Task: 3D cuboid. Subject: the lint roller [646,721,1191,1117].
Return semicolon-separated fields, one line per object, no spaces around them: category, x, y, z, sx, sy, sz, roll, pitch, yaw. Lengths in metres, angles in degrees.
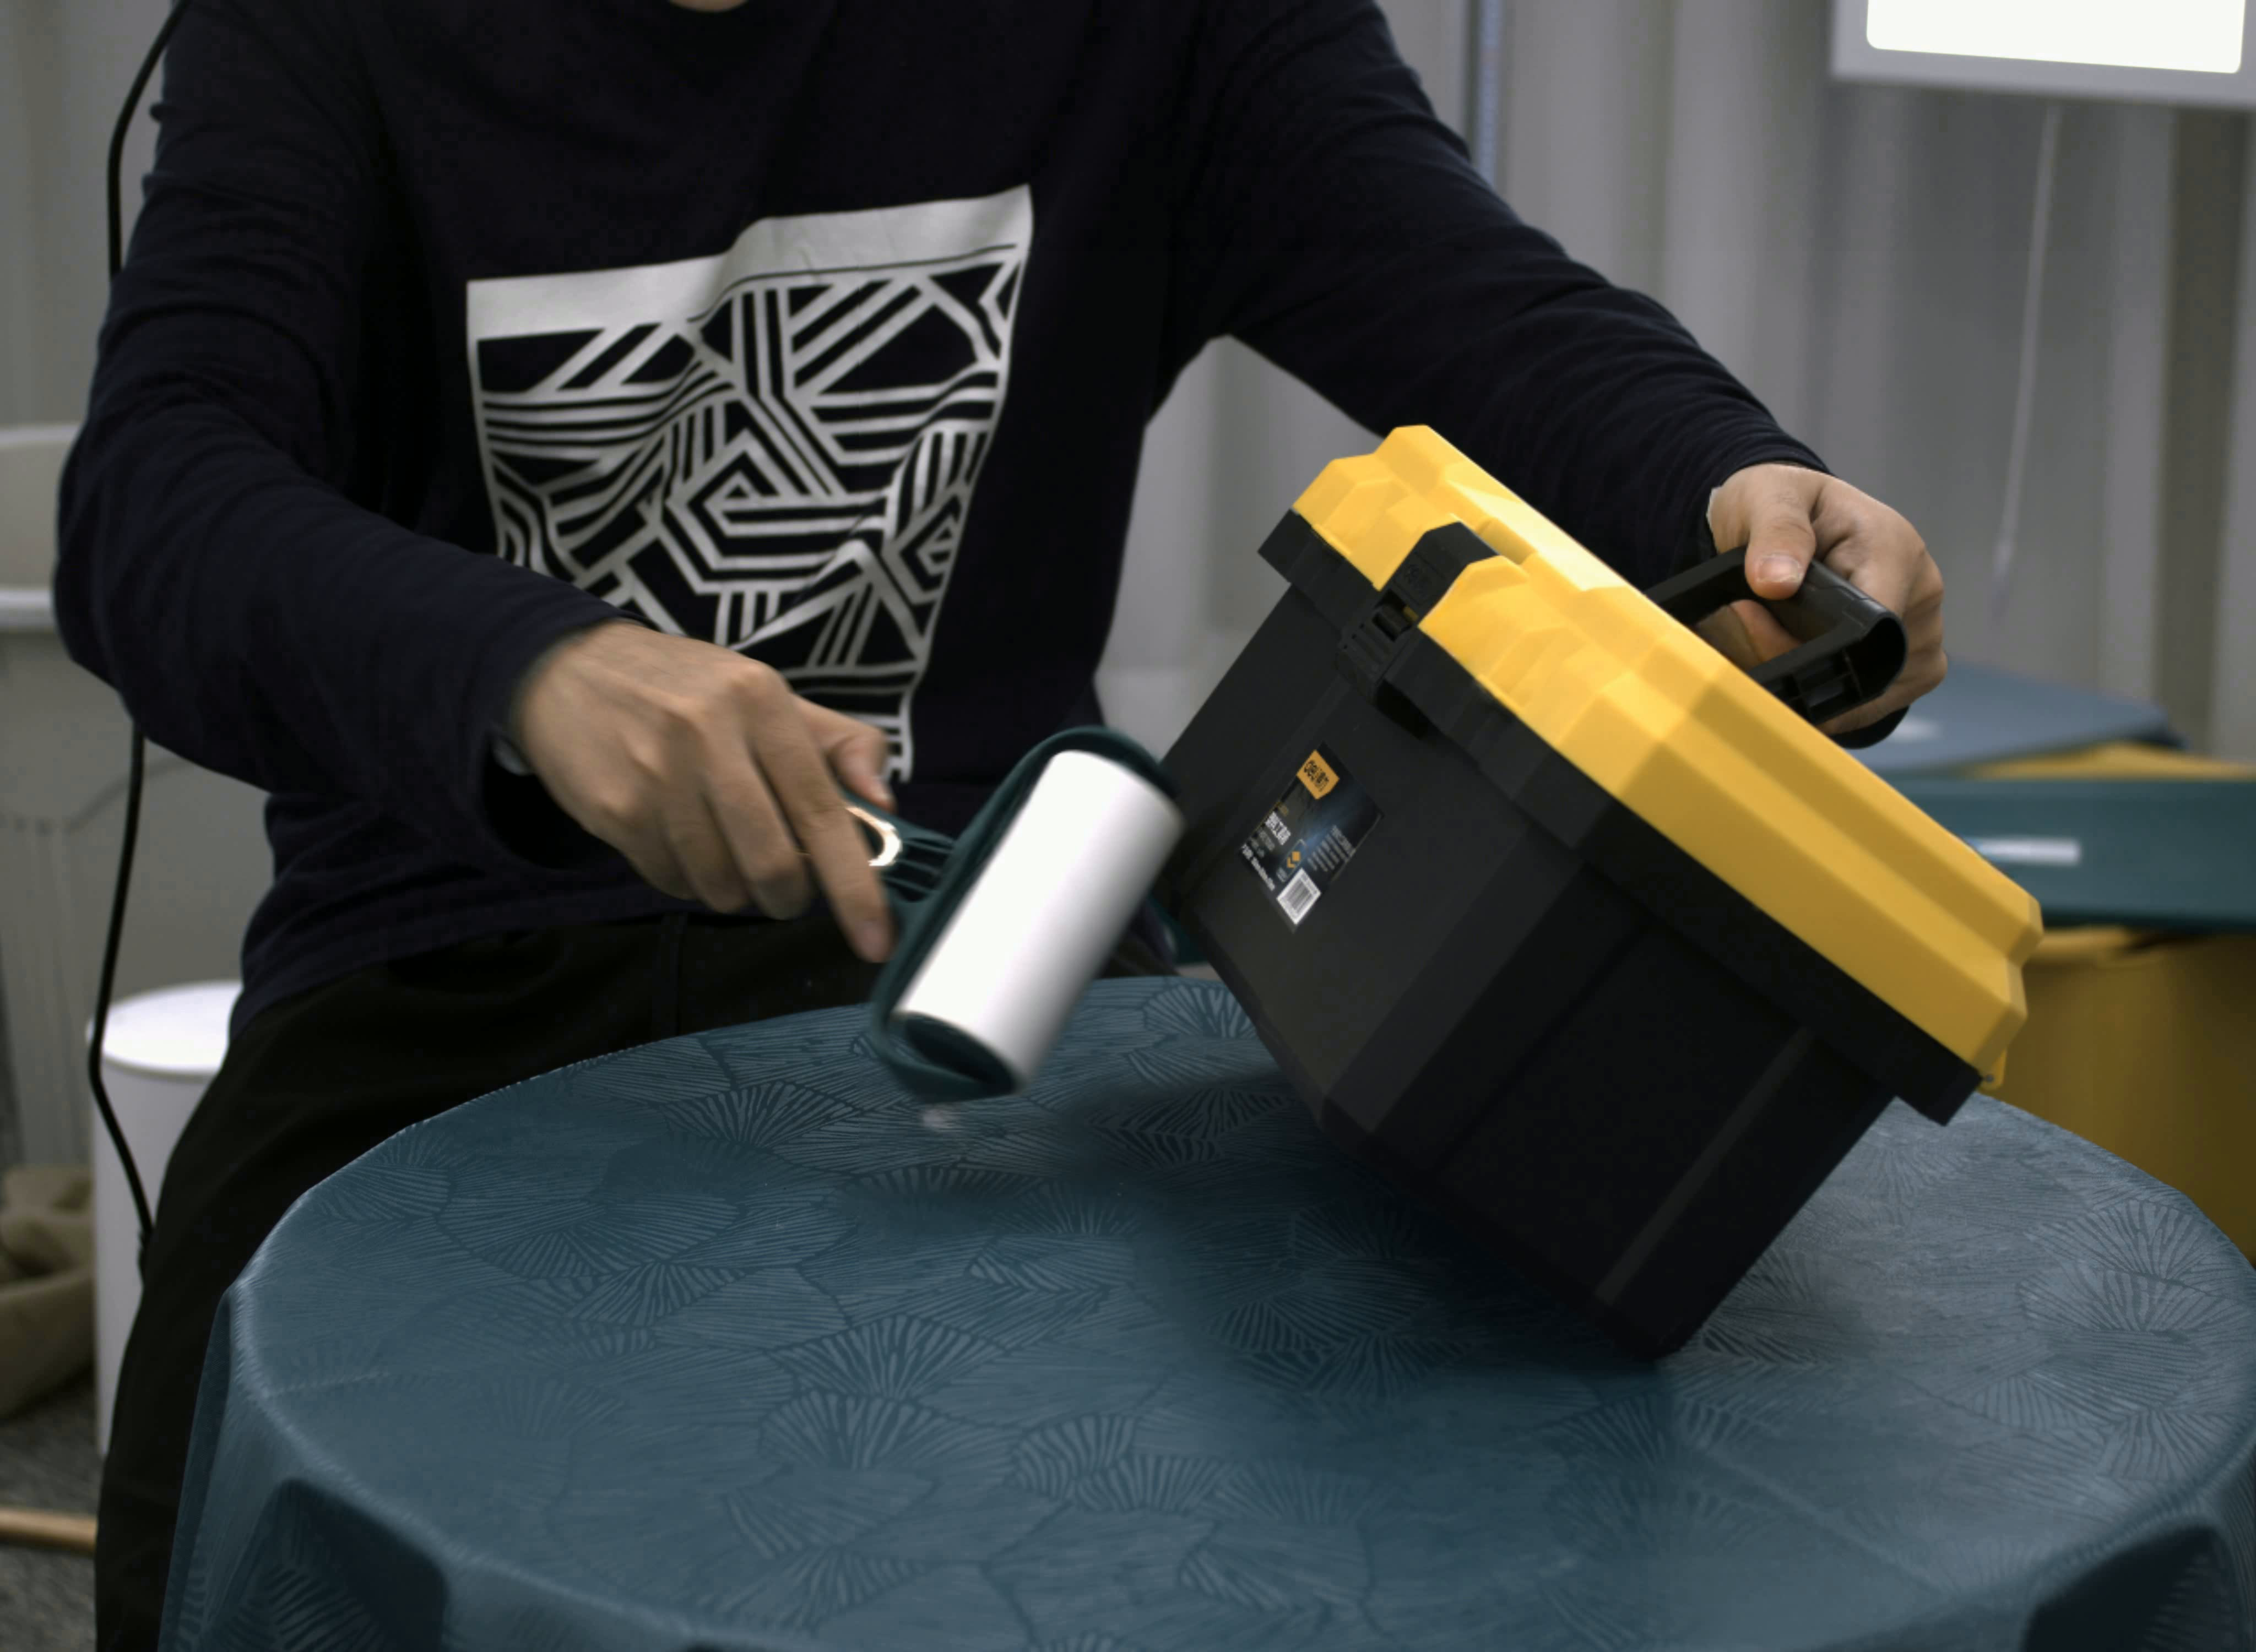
lint roller;-0.080;0.007;1.650;0.178;0.134;0.049;21;-20;21

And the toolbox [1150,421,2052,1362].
toolbox;0.122;0.011;1.595;0.183;0.173;0.348;36;5;-19
